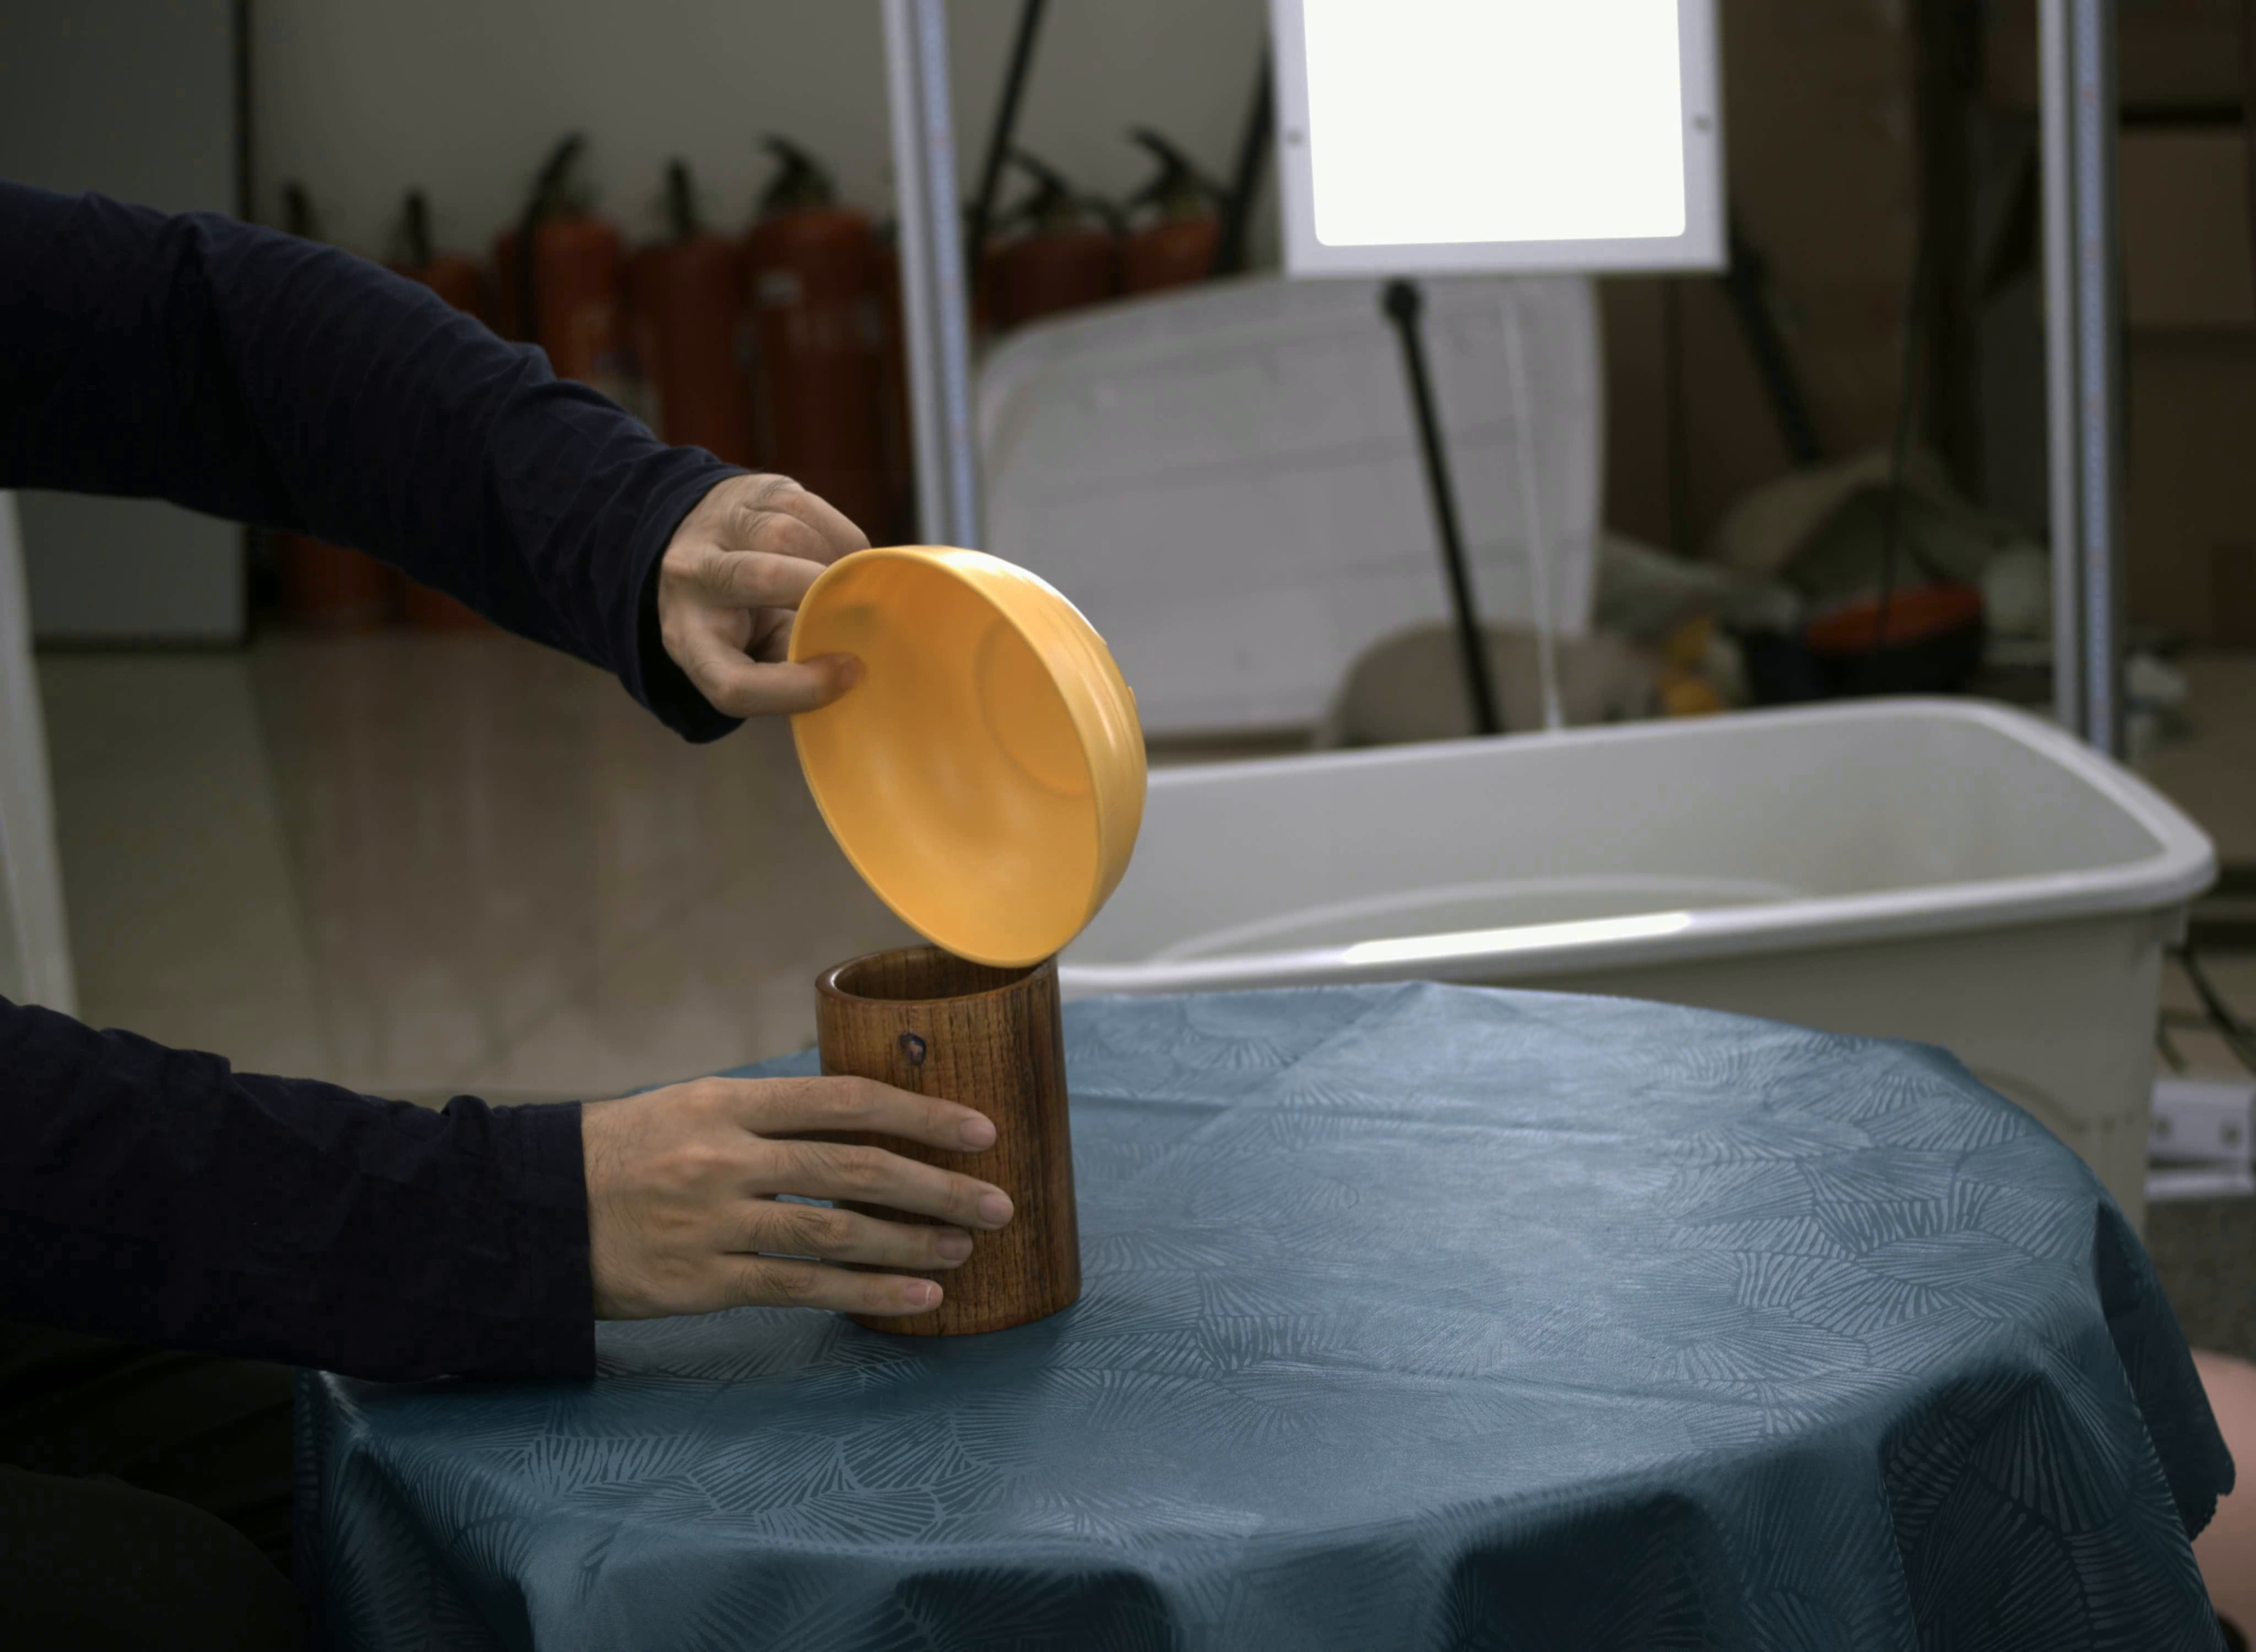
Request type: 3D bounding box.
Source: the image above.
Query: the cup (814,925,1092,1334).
[{"bbox_3d":[-0.055,0.098,1.789,0.087,0.119,0.087,-4,10,-1],"label":"cup"}]

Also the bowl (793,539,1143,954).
[{"bbox_3d":[-0.040,-0.036,1.787,0.059,0.145,0.148,-31,26,-32],"label":"bowl"}]
